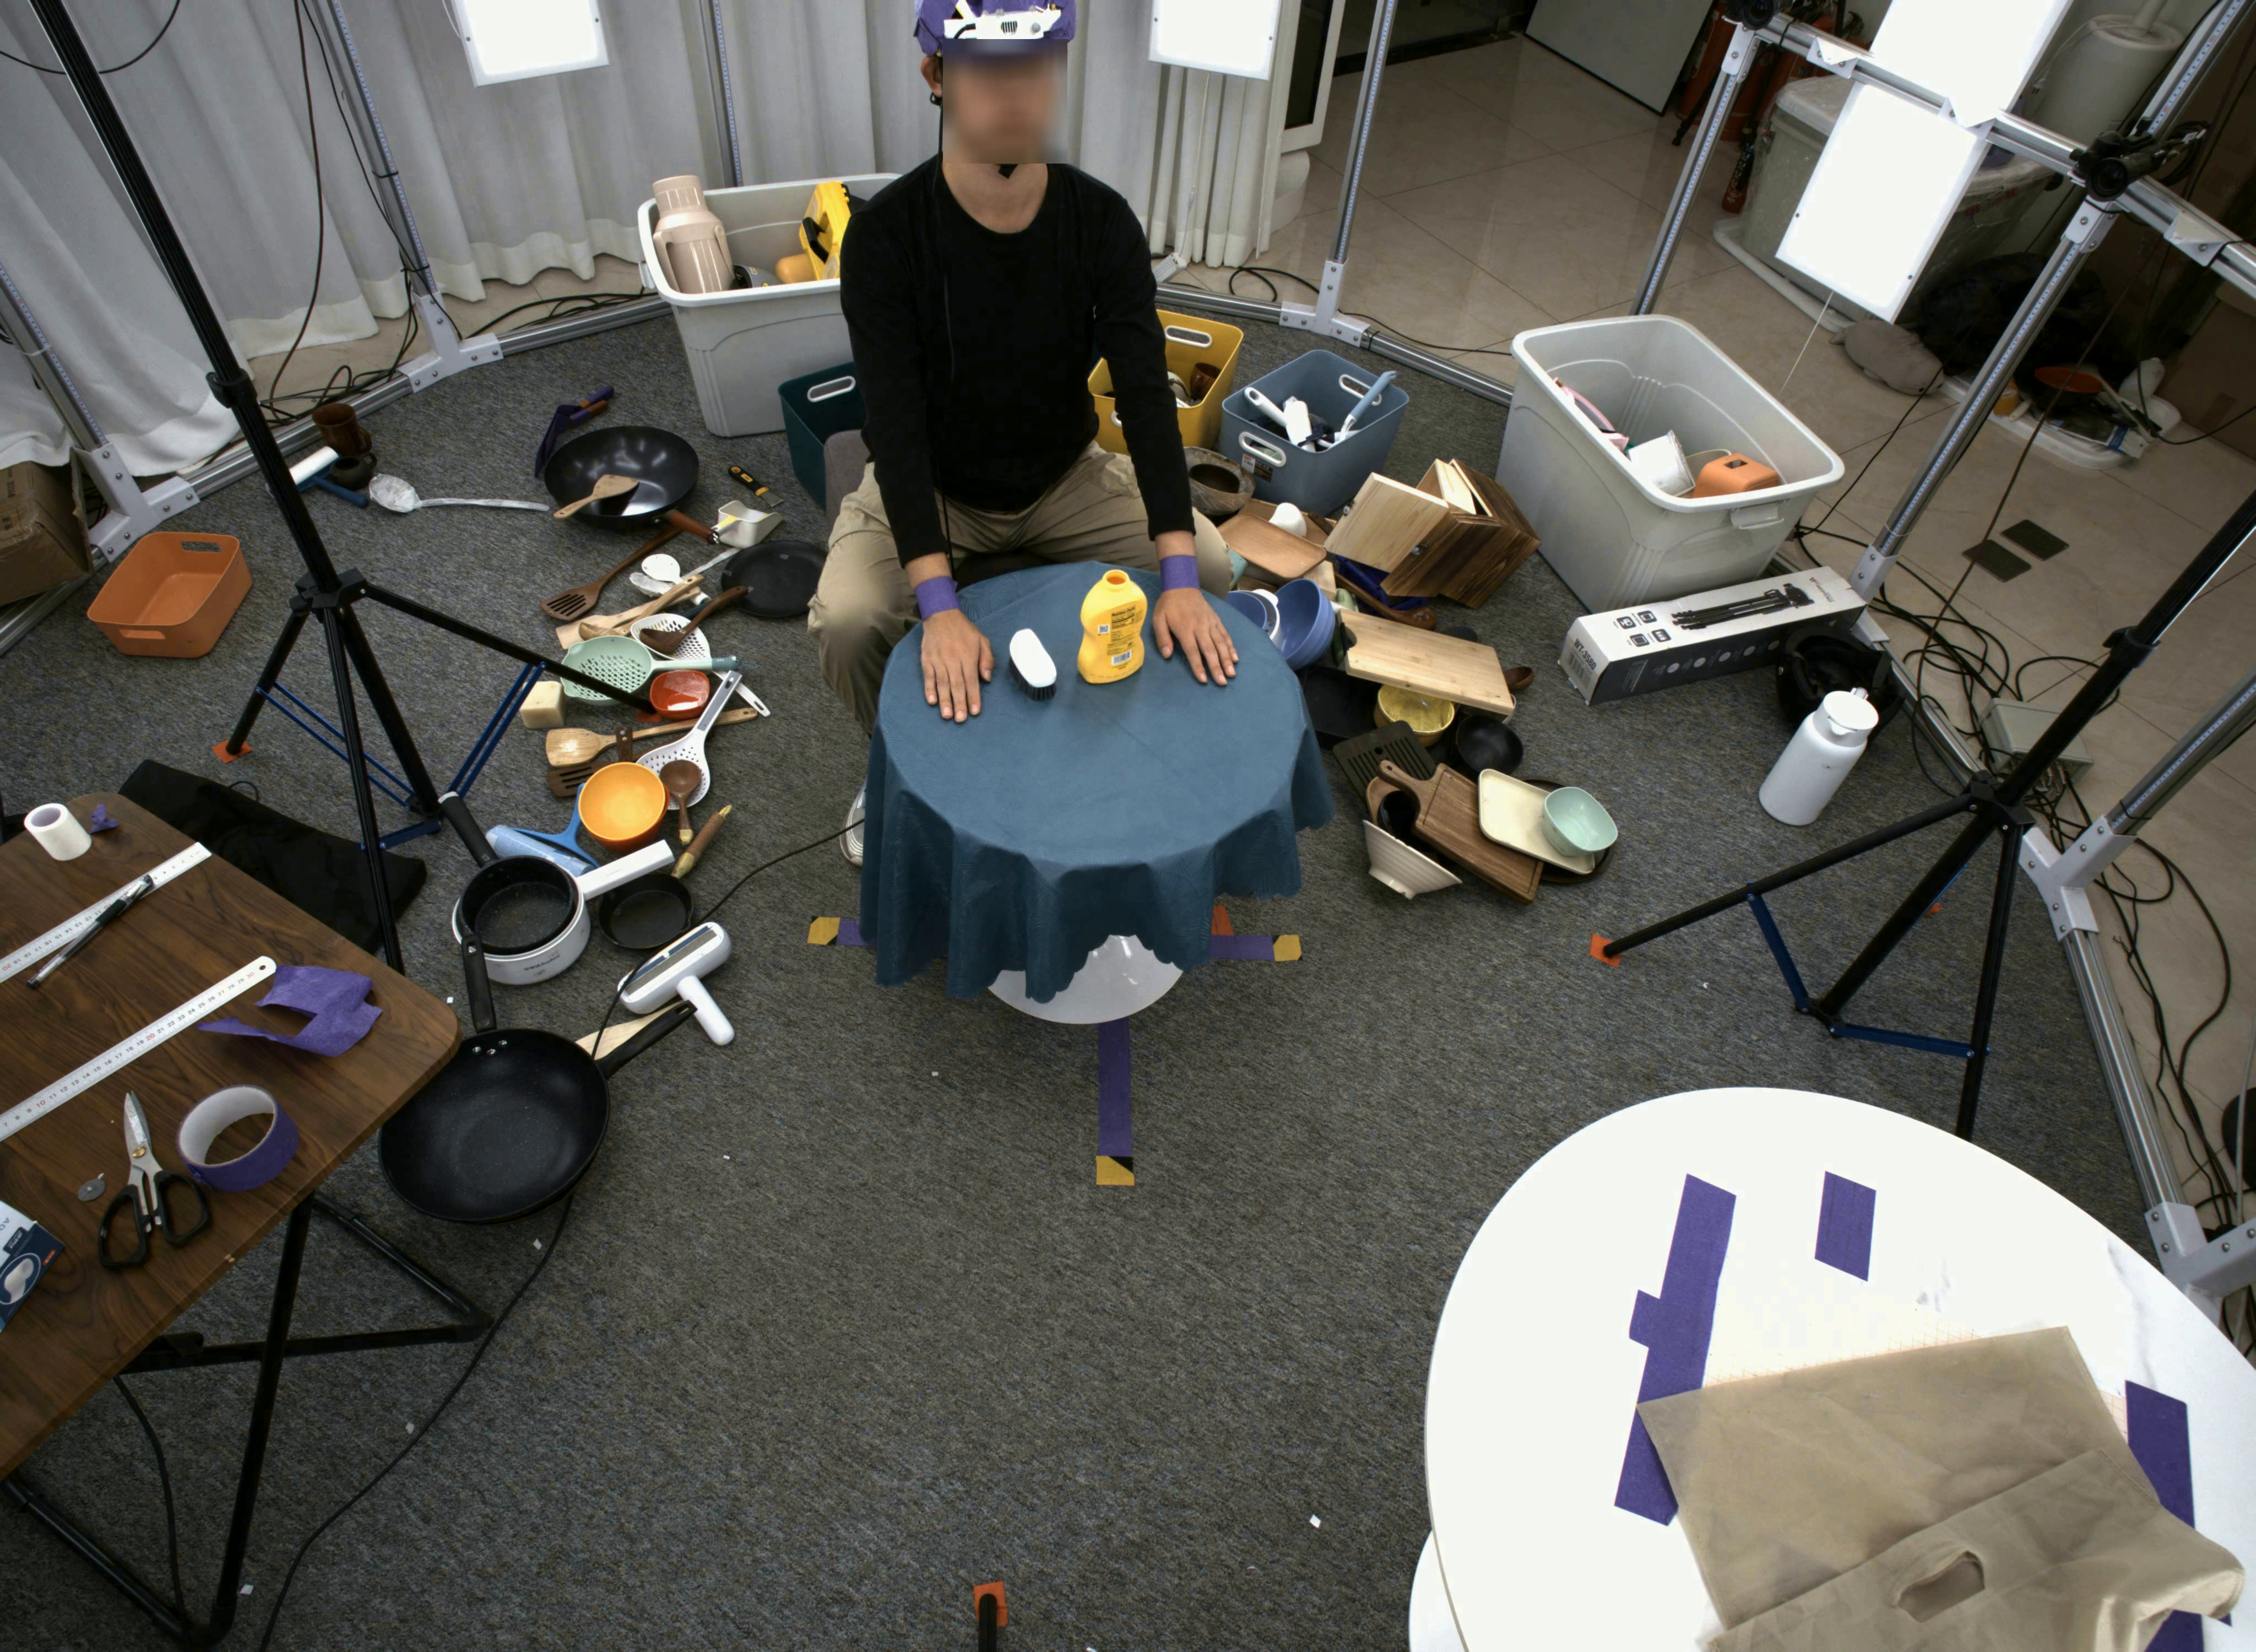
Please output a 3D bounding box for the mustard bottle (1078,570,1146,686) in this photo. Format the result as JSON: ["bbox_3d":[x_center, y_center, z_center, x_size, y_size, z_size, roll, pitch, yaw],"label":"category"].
[{"bbox_3d":[-0.022,-0.280,1.799,0.098,0.168,0.060,-23,52,-21],"label":"mustard bottle"}]

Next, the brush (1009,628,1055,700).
[{"bbox_3d":[-0.135,-0.236,1.814,0.050,0.071,0.101,-16,53,-19],"label":"brush"}]
